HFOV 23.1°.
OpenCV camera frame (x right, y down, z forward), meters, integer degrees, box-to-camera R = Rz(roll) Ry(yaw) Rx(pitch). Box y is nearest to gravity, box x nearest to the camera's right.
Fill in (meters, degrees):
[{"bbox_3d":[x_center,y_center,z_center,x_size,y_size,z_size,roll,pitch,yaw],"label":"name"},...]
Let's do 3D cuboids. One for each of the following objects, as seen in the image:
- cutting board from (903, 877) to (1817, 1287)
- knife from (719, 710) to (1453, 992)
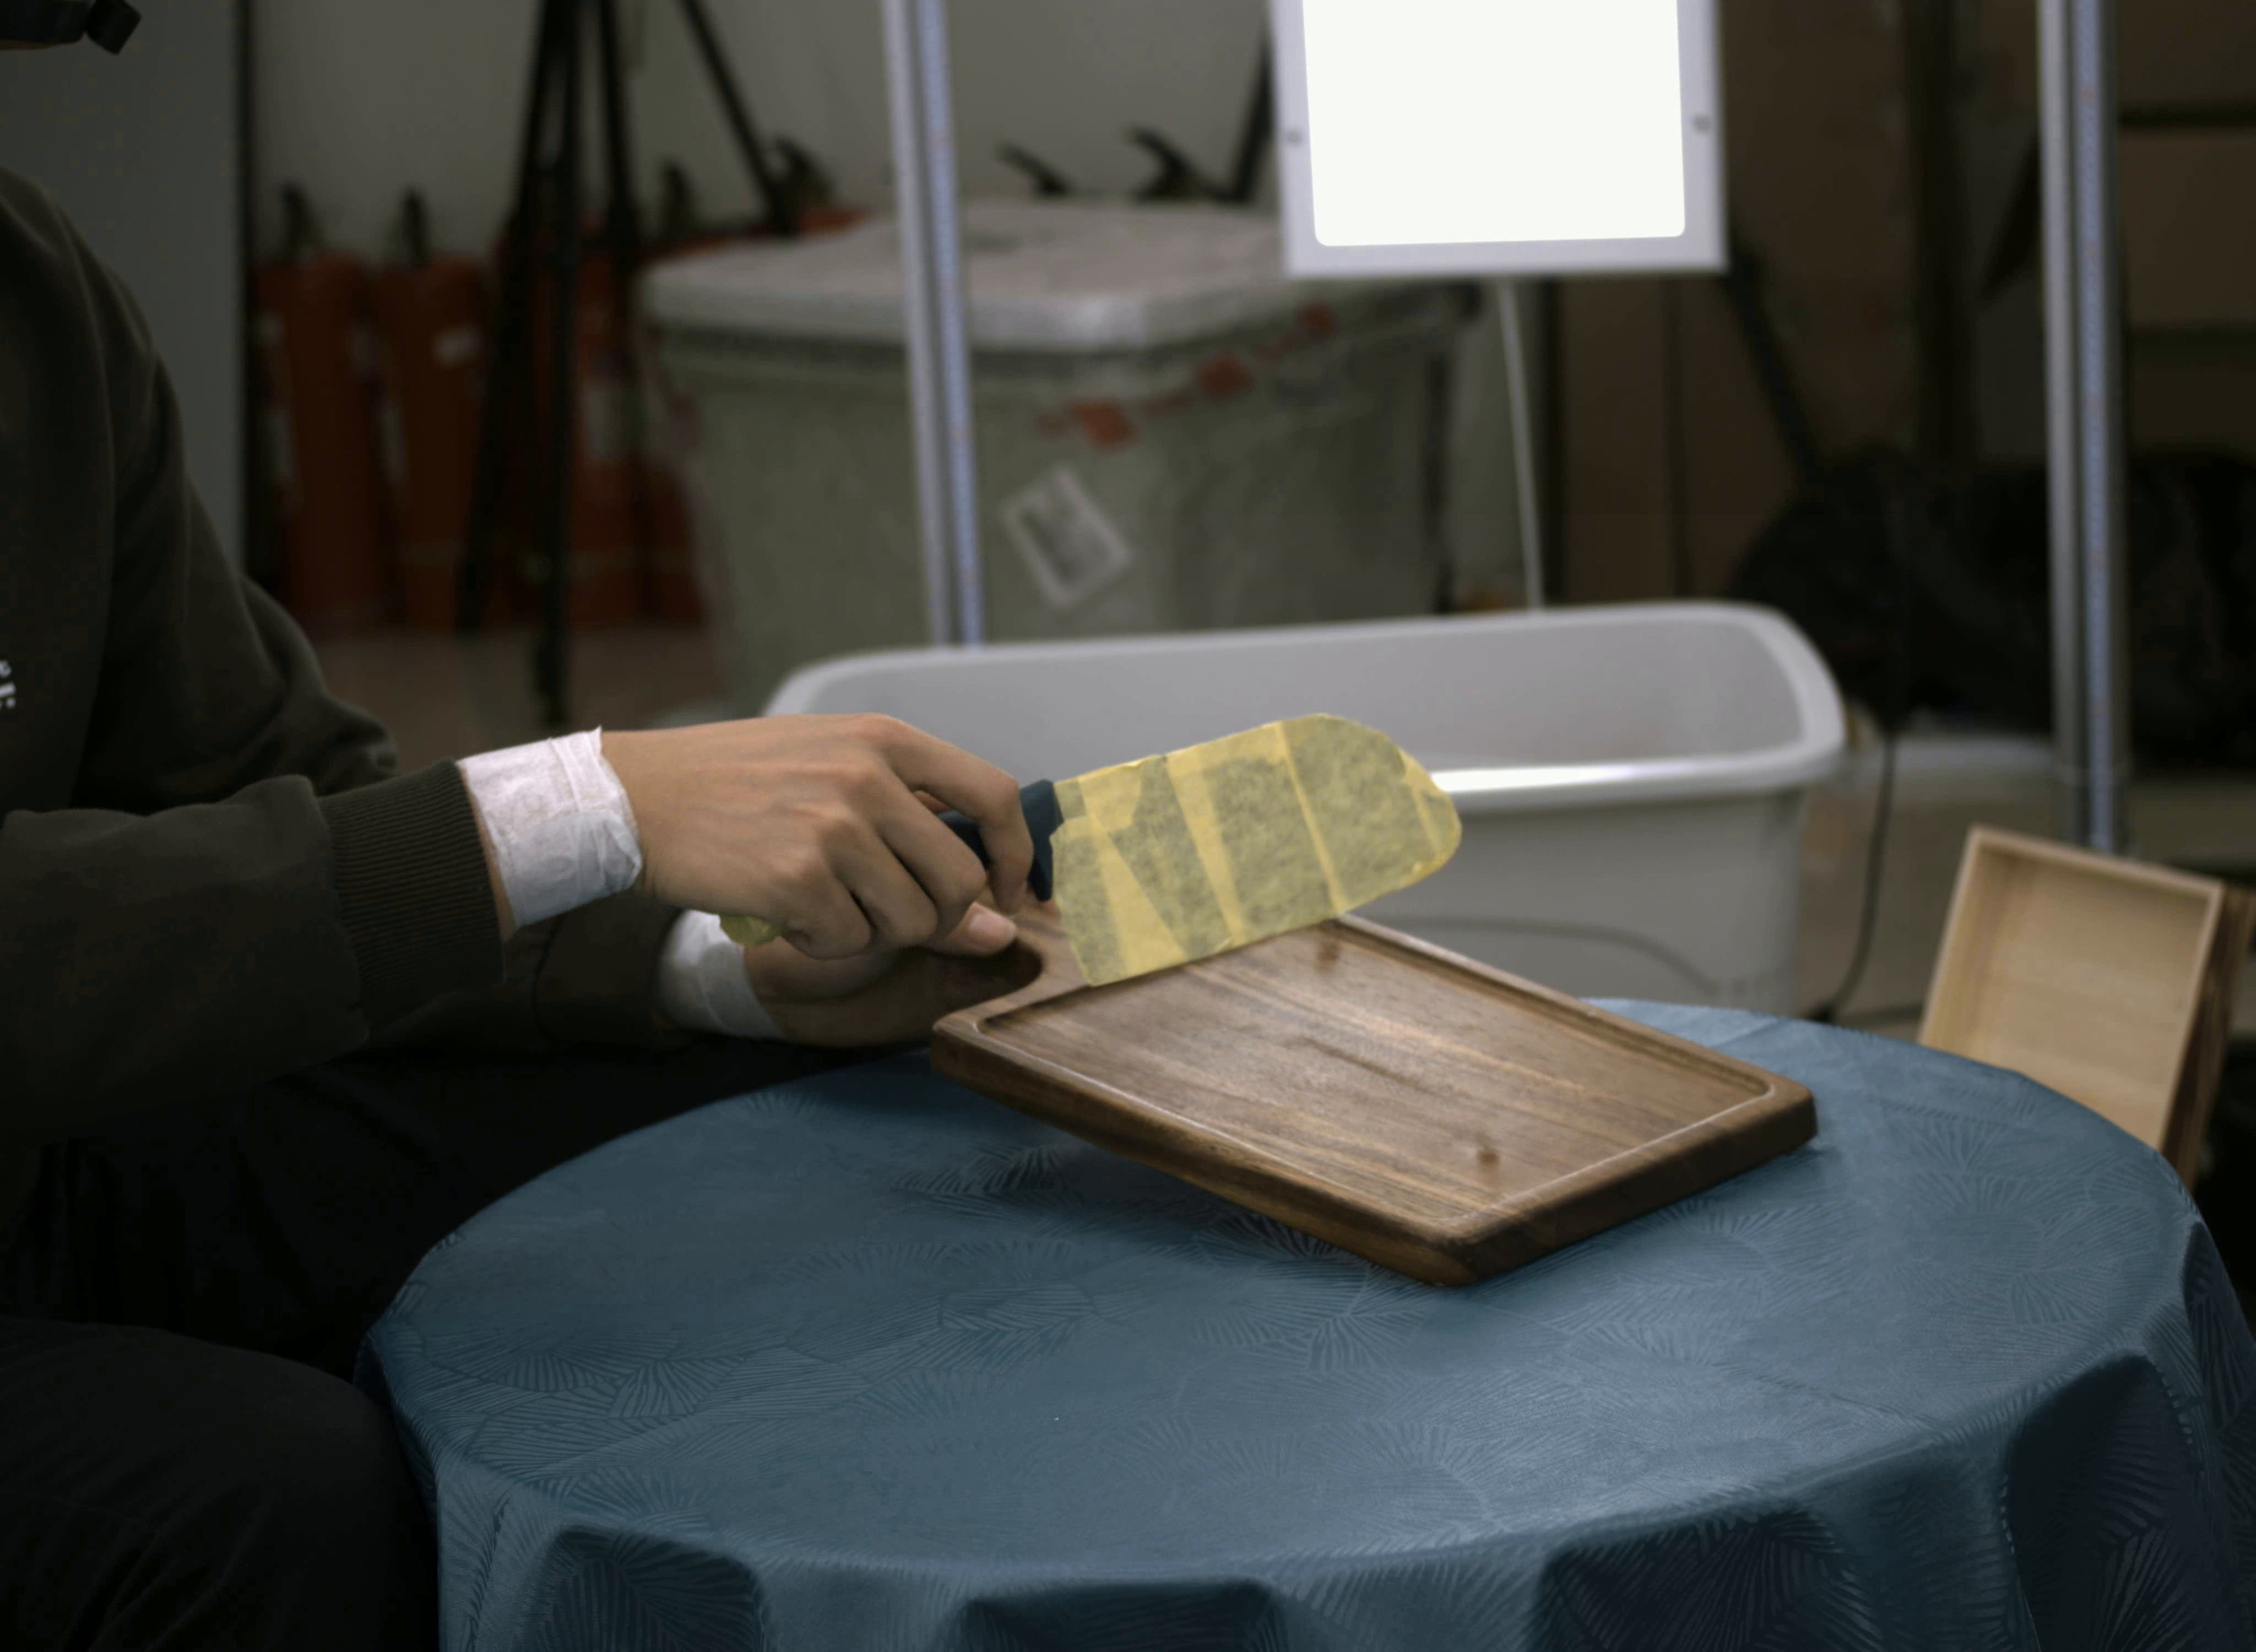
[{"bbox_3d":[0.049,0.074,1.941,0.196,0.023,0.359,-17,27,-42],"label":"cutting board"},{"bbox_3d":[-0.008,0.016,1.903,0.283,0.081,0.028,-12,-10,-26],"label":"knife"}]
